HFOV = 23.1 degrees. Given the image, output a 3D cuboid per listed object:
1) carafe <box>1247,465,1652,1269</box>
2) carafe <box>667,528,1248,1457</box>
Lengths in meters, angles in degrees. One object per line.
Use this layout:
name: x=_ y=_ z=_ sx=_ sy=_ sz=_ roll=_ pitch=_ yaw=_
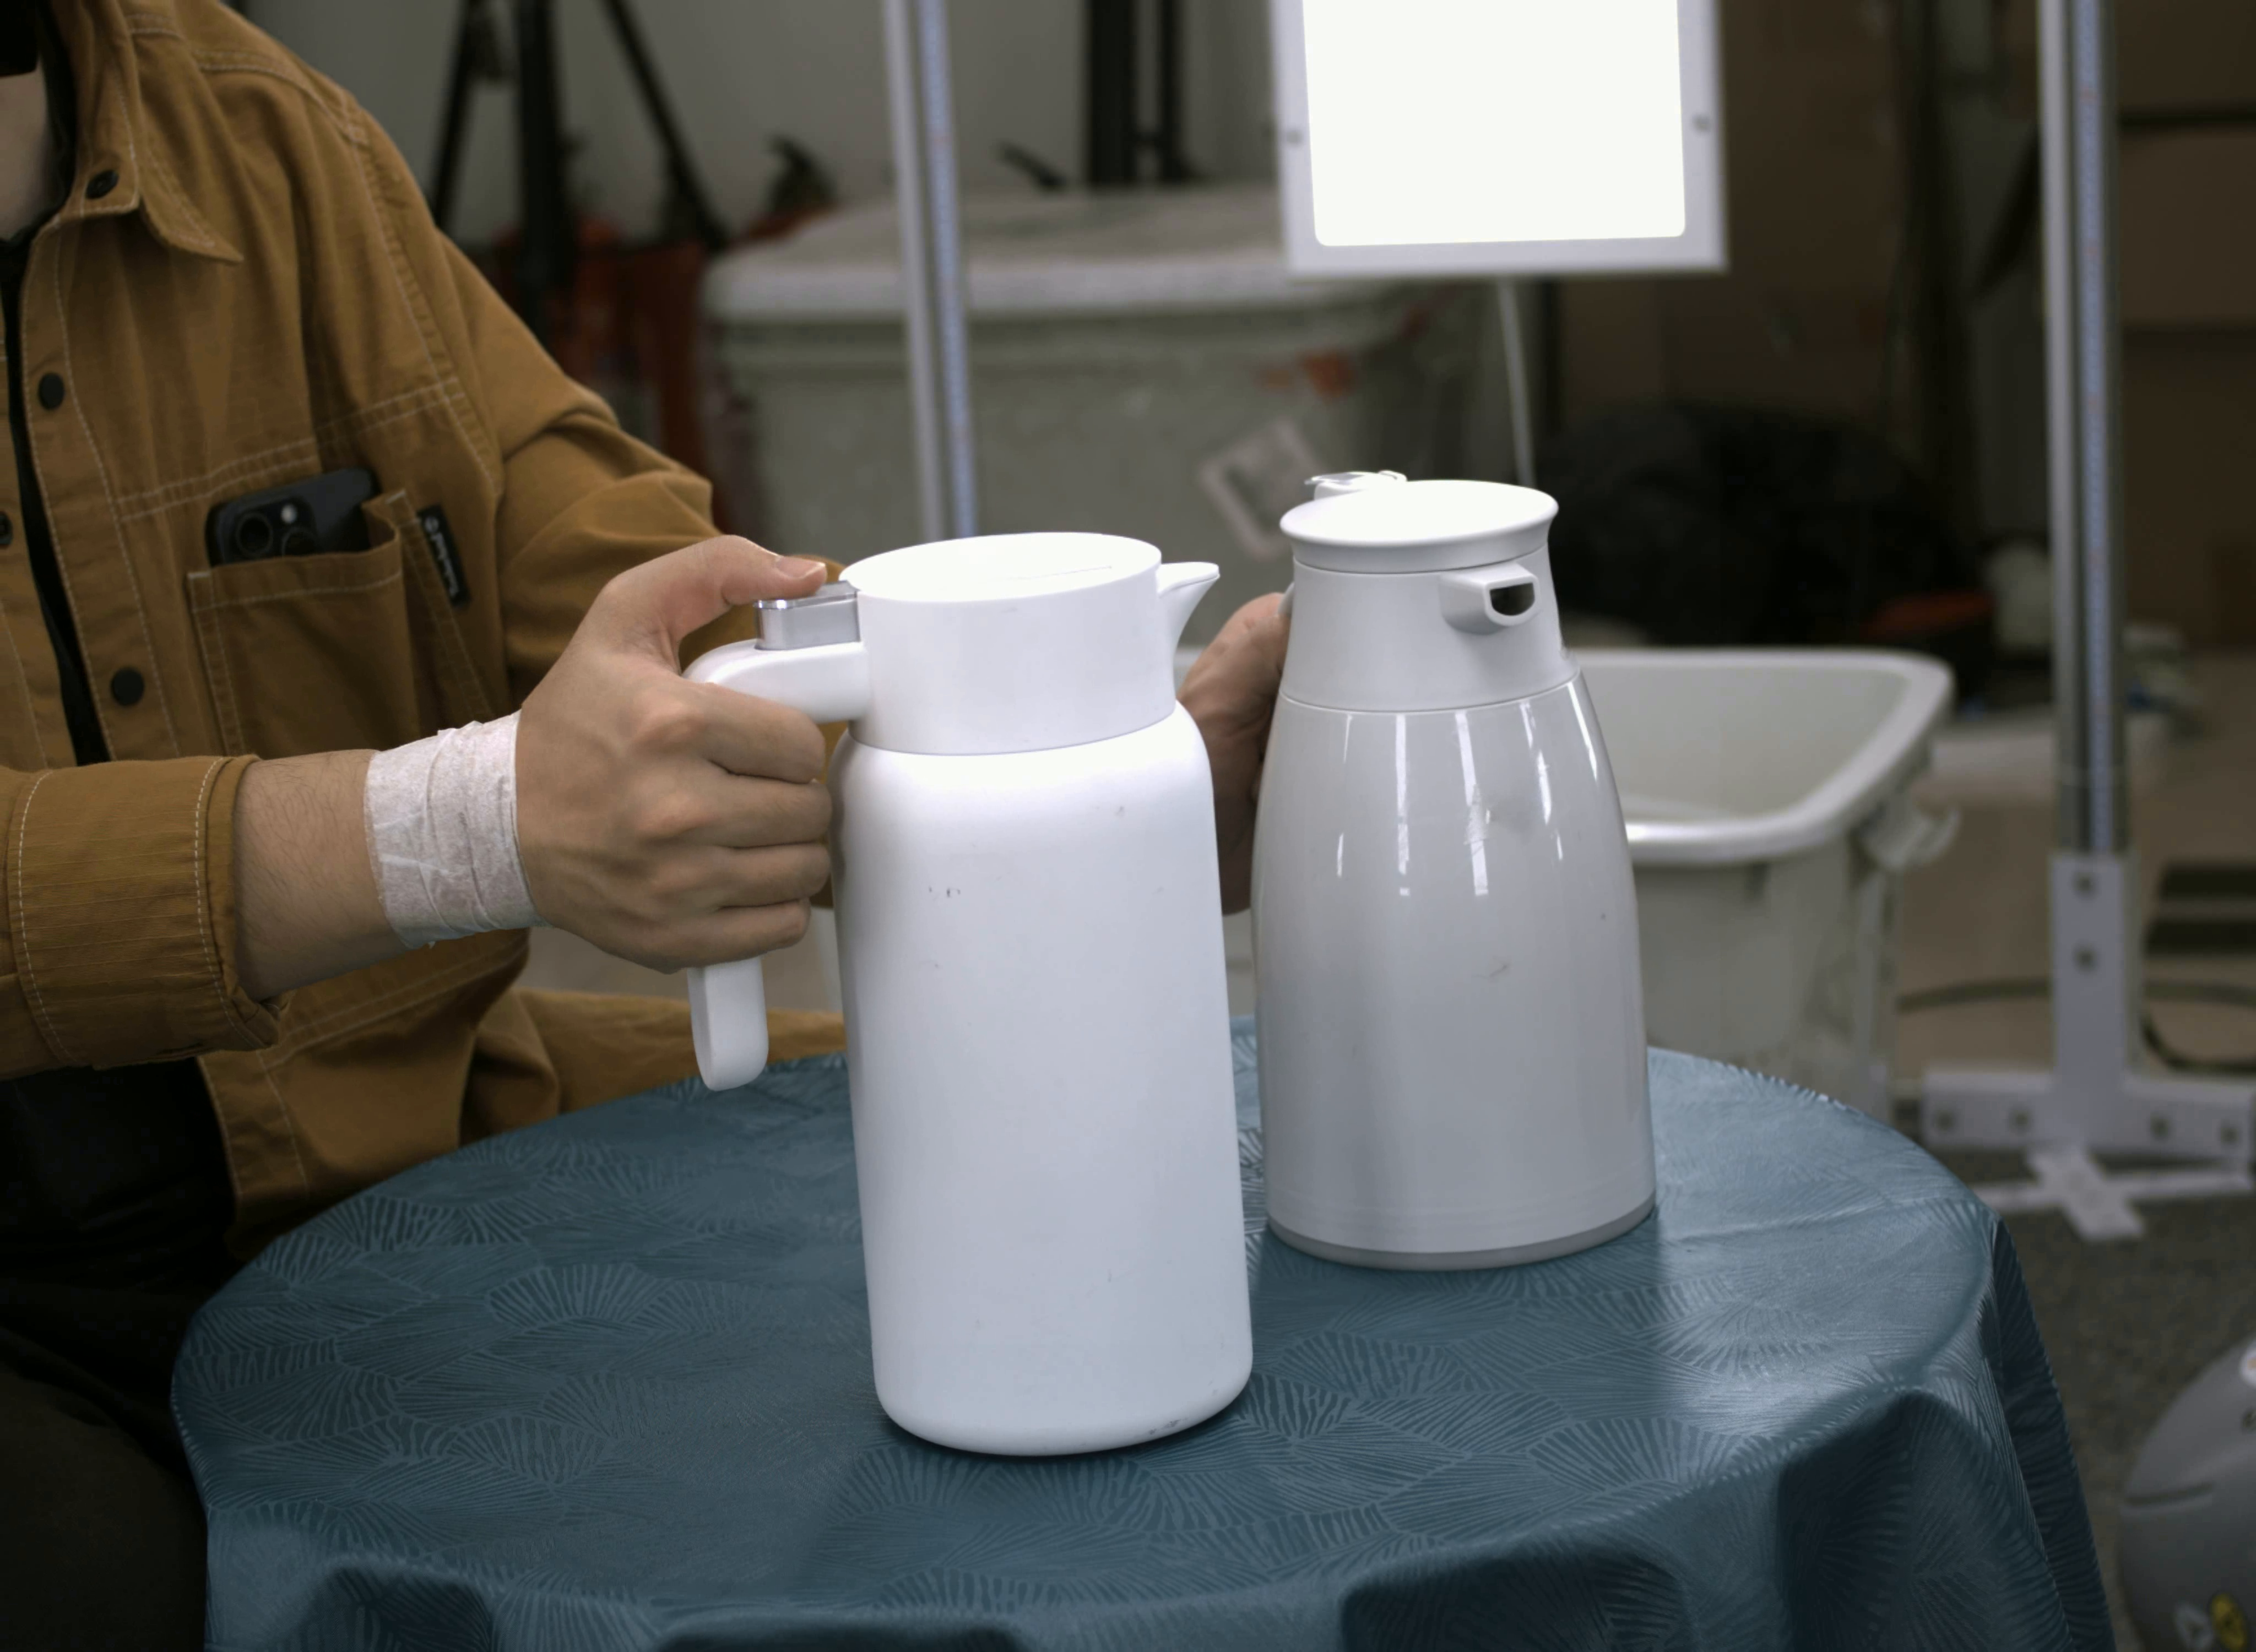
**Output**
carafe: x=0.093 y=0.005 z=1.834 sx=0.130 sy=0.249 sz=0.170 roll=-11 pitch=14 yaw=-24
carafe: x=-0.045 y=0.051 z=1.661 sx=0.170 sy=0.270 sz=0.125 roll=-8 pitch=16 yaw=-15
